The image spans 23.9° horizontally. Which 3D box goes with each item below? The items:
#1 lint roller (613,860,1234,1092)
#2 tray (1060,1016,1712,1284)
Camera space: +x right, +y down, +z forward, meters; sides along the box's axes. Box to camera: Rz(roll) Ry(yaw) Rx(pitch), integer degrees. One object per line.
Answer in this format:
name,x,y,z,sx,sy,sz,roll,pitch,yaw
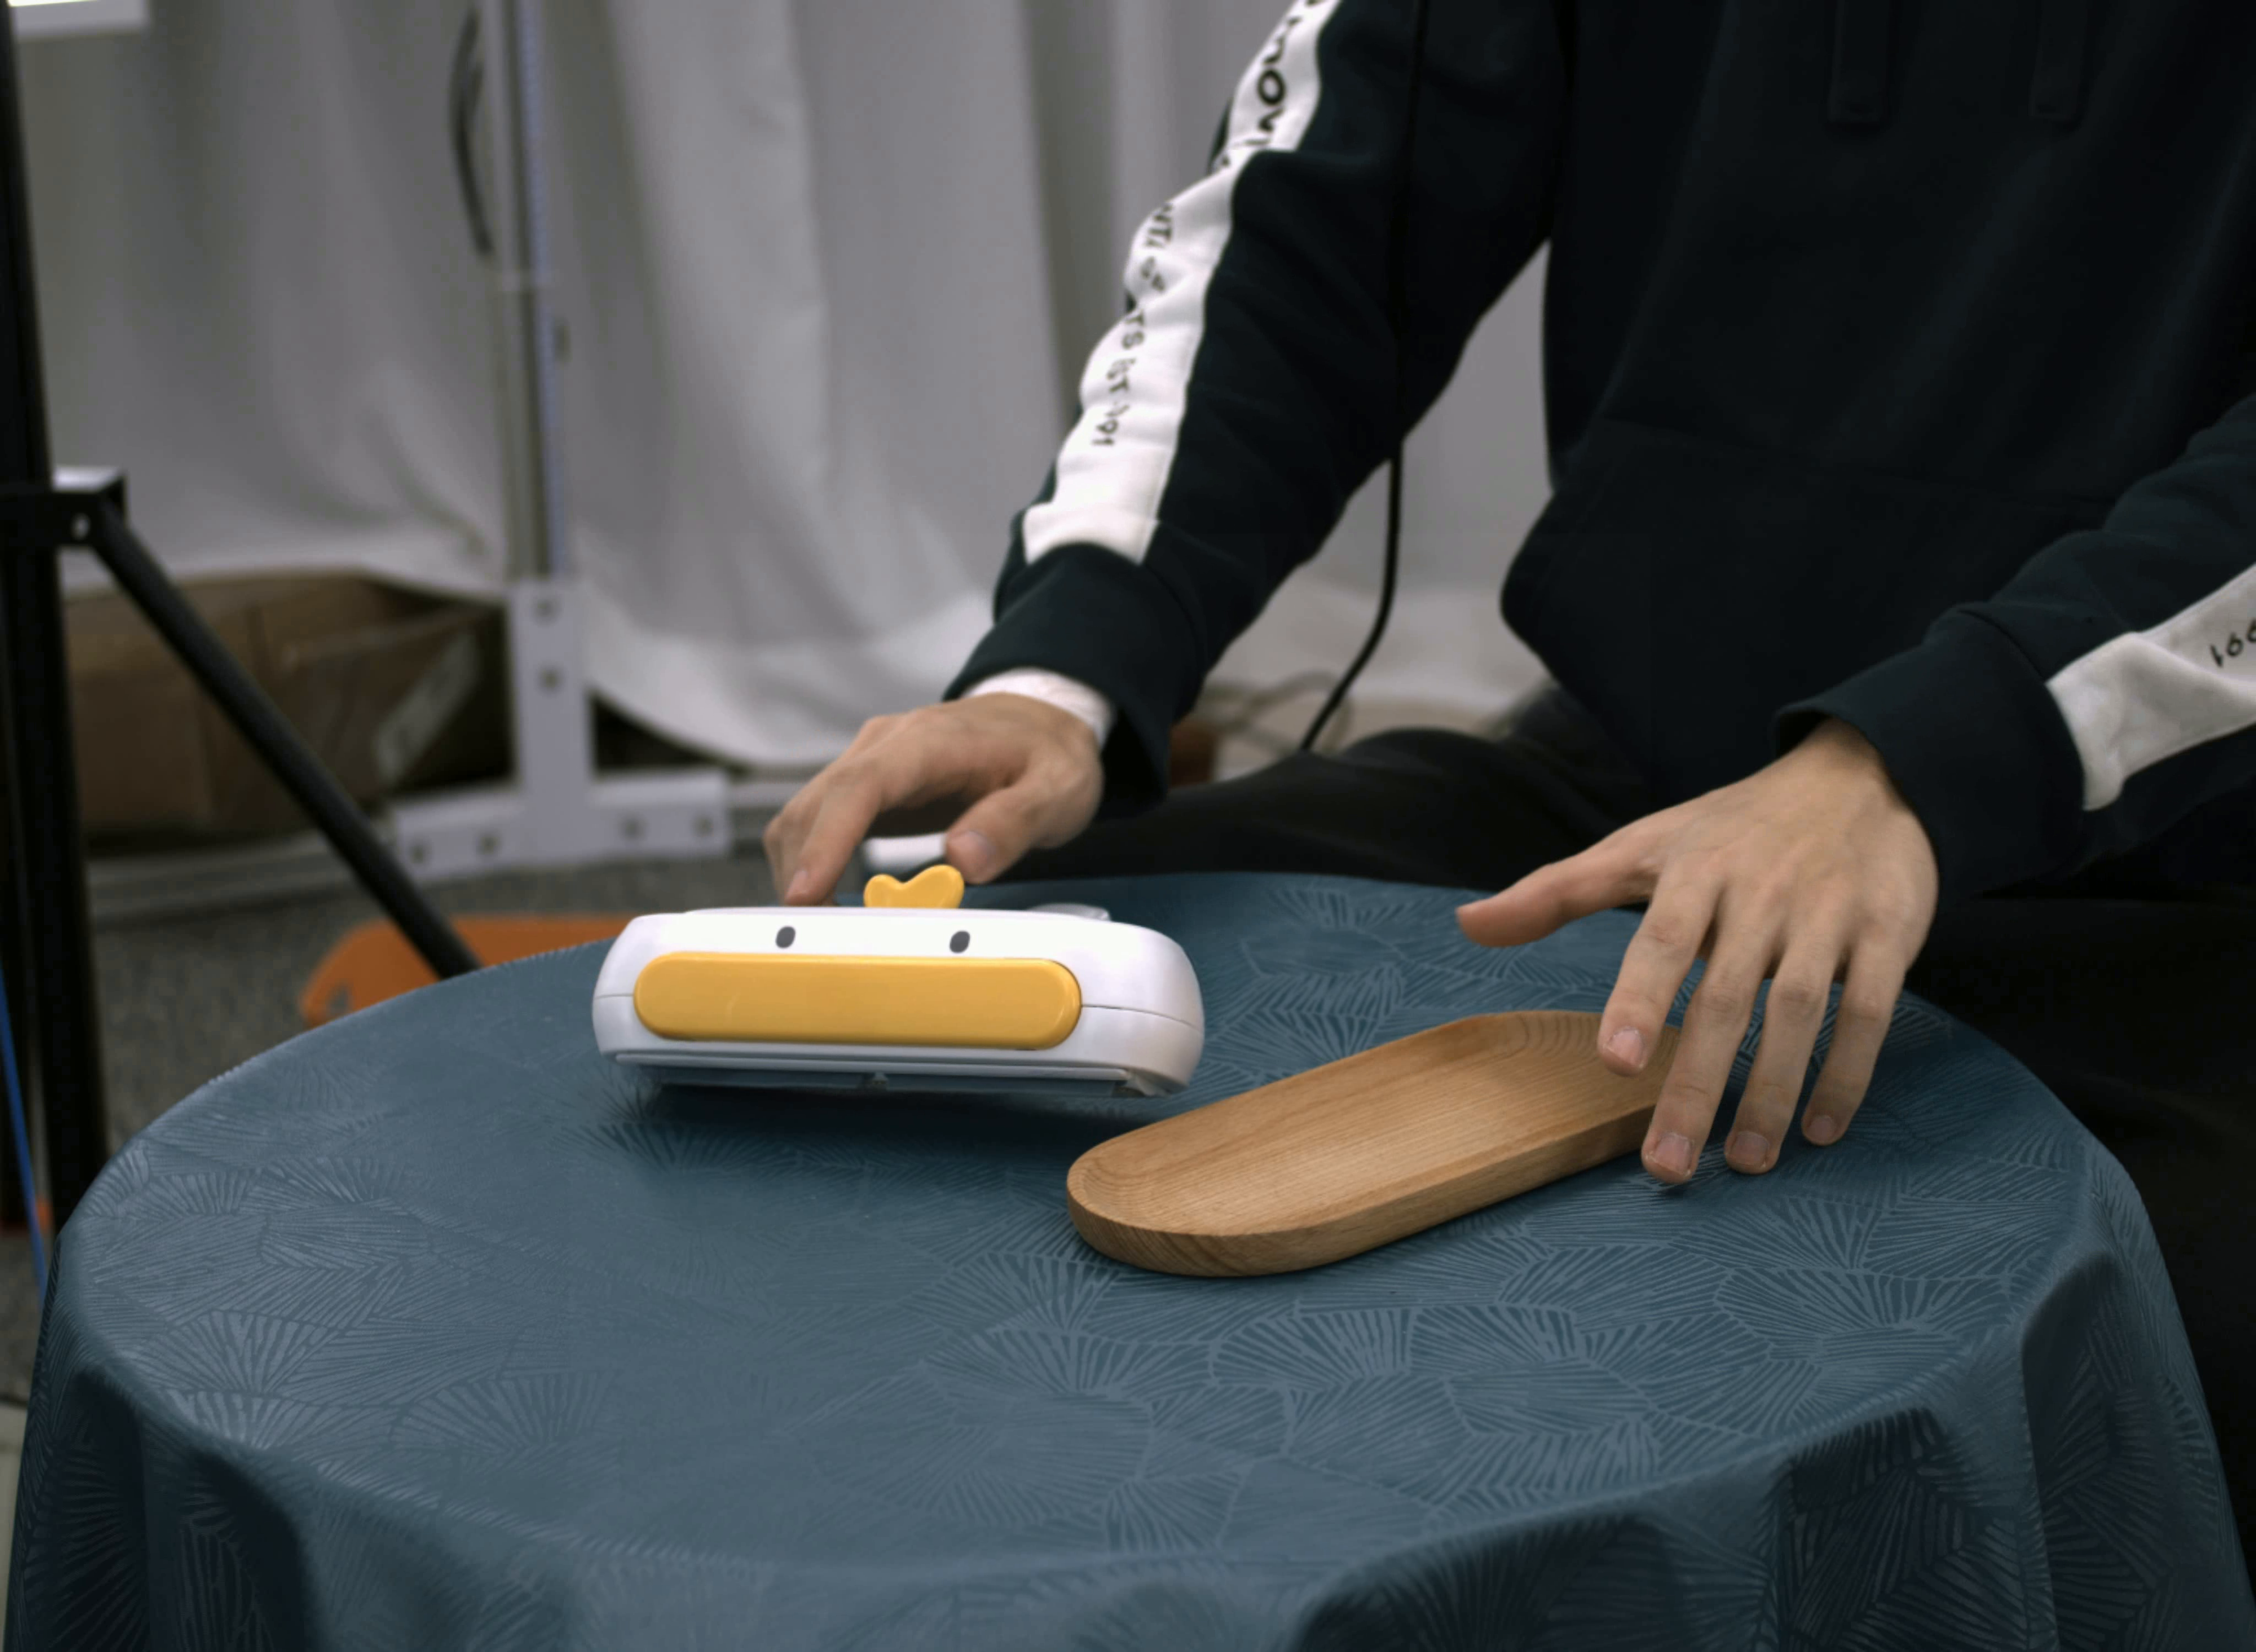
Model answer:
lint roller,-0.047,0.051,1.678,0.194,0.074,0.189,-4,-5,18
tray,0.079,0.094,1.562,0.226,0.020,0.104,-18,21,-39
